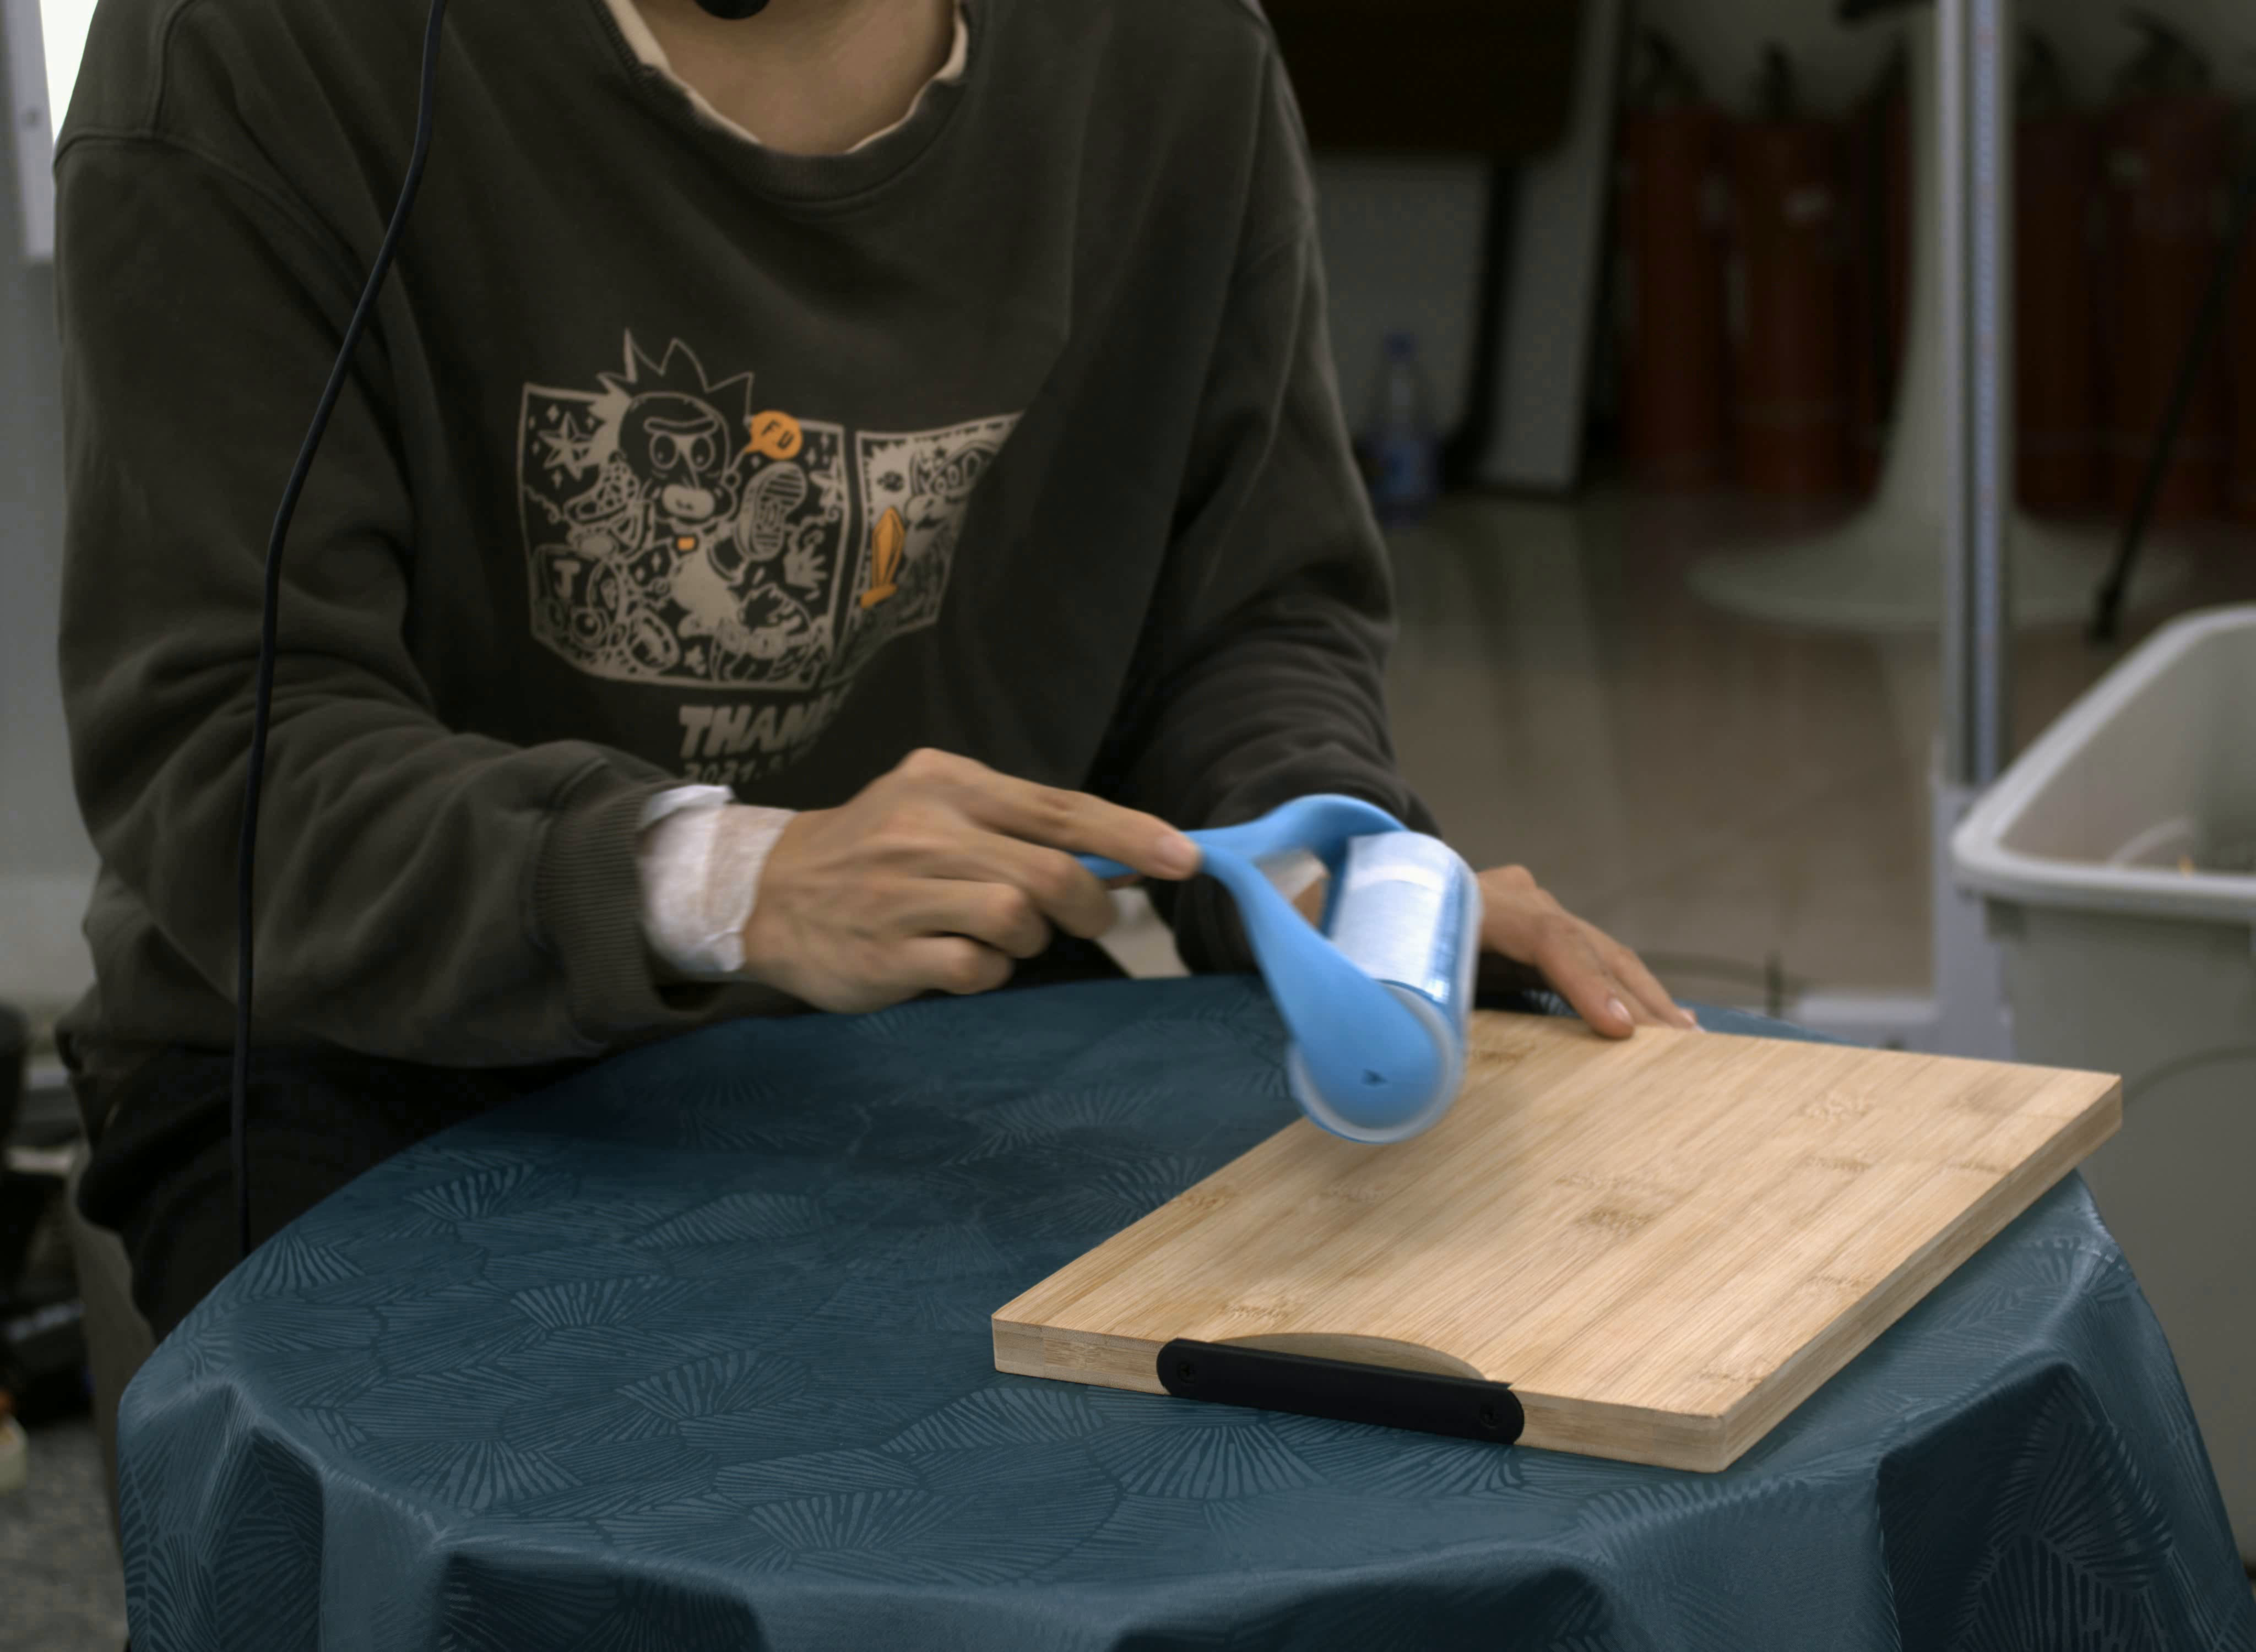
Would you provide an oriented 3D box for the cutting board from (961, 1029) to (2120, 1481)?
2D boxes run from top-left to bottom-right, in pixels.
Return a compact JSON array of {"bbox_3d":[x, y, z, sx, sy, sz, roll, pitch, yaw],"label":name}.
[{"bbox_3d":[0.139,0.126,1.682,0.251,0.024,0.343,3,15,29],"label":"cutting board"}]

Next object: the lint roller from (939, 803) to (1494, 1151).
[{"bbox_3d":[0.032,0.035,1.726,0.178,0.069,0.229,15,15,0],"label":"lint roller"}]
